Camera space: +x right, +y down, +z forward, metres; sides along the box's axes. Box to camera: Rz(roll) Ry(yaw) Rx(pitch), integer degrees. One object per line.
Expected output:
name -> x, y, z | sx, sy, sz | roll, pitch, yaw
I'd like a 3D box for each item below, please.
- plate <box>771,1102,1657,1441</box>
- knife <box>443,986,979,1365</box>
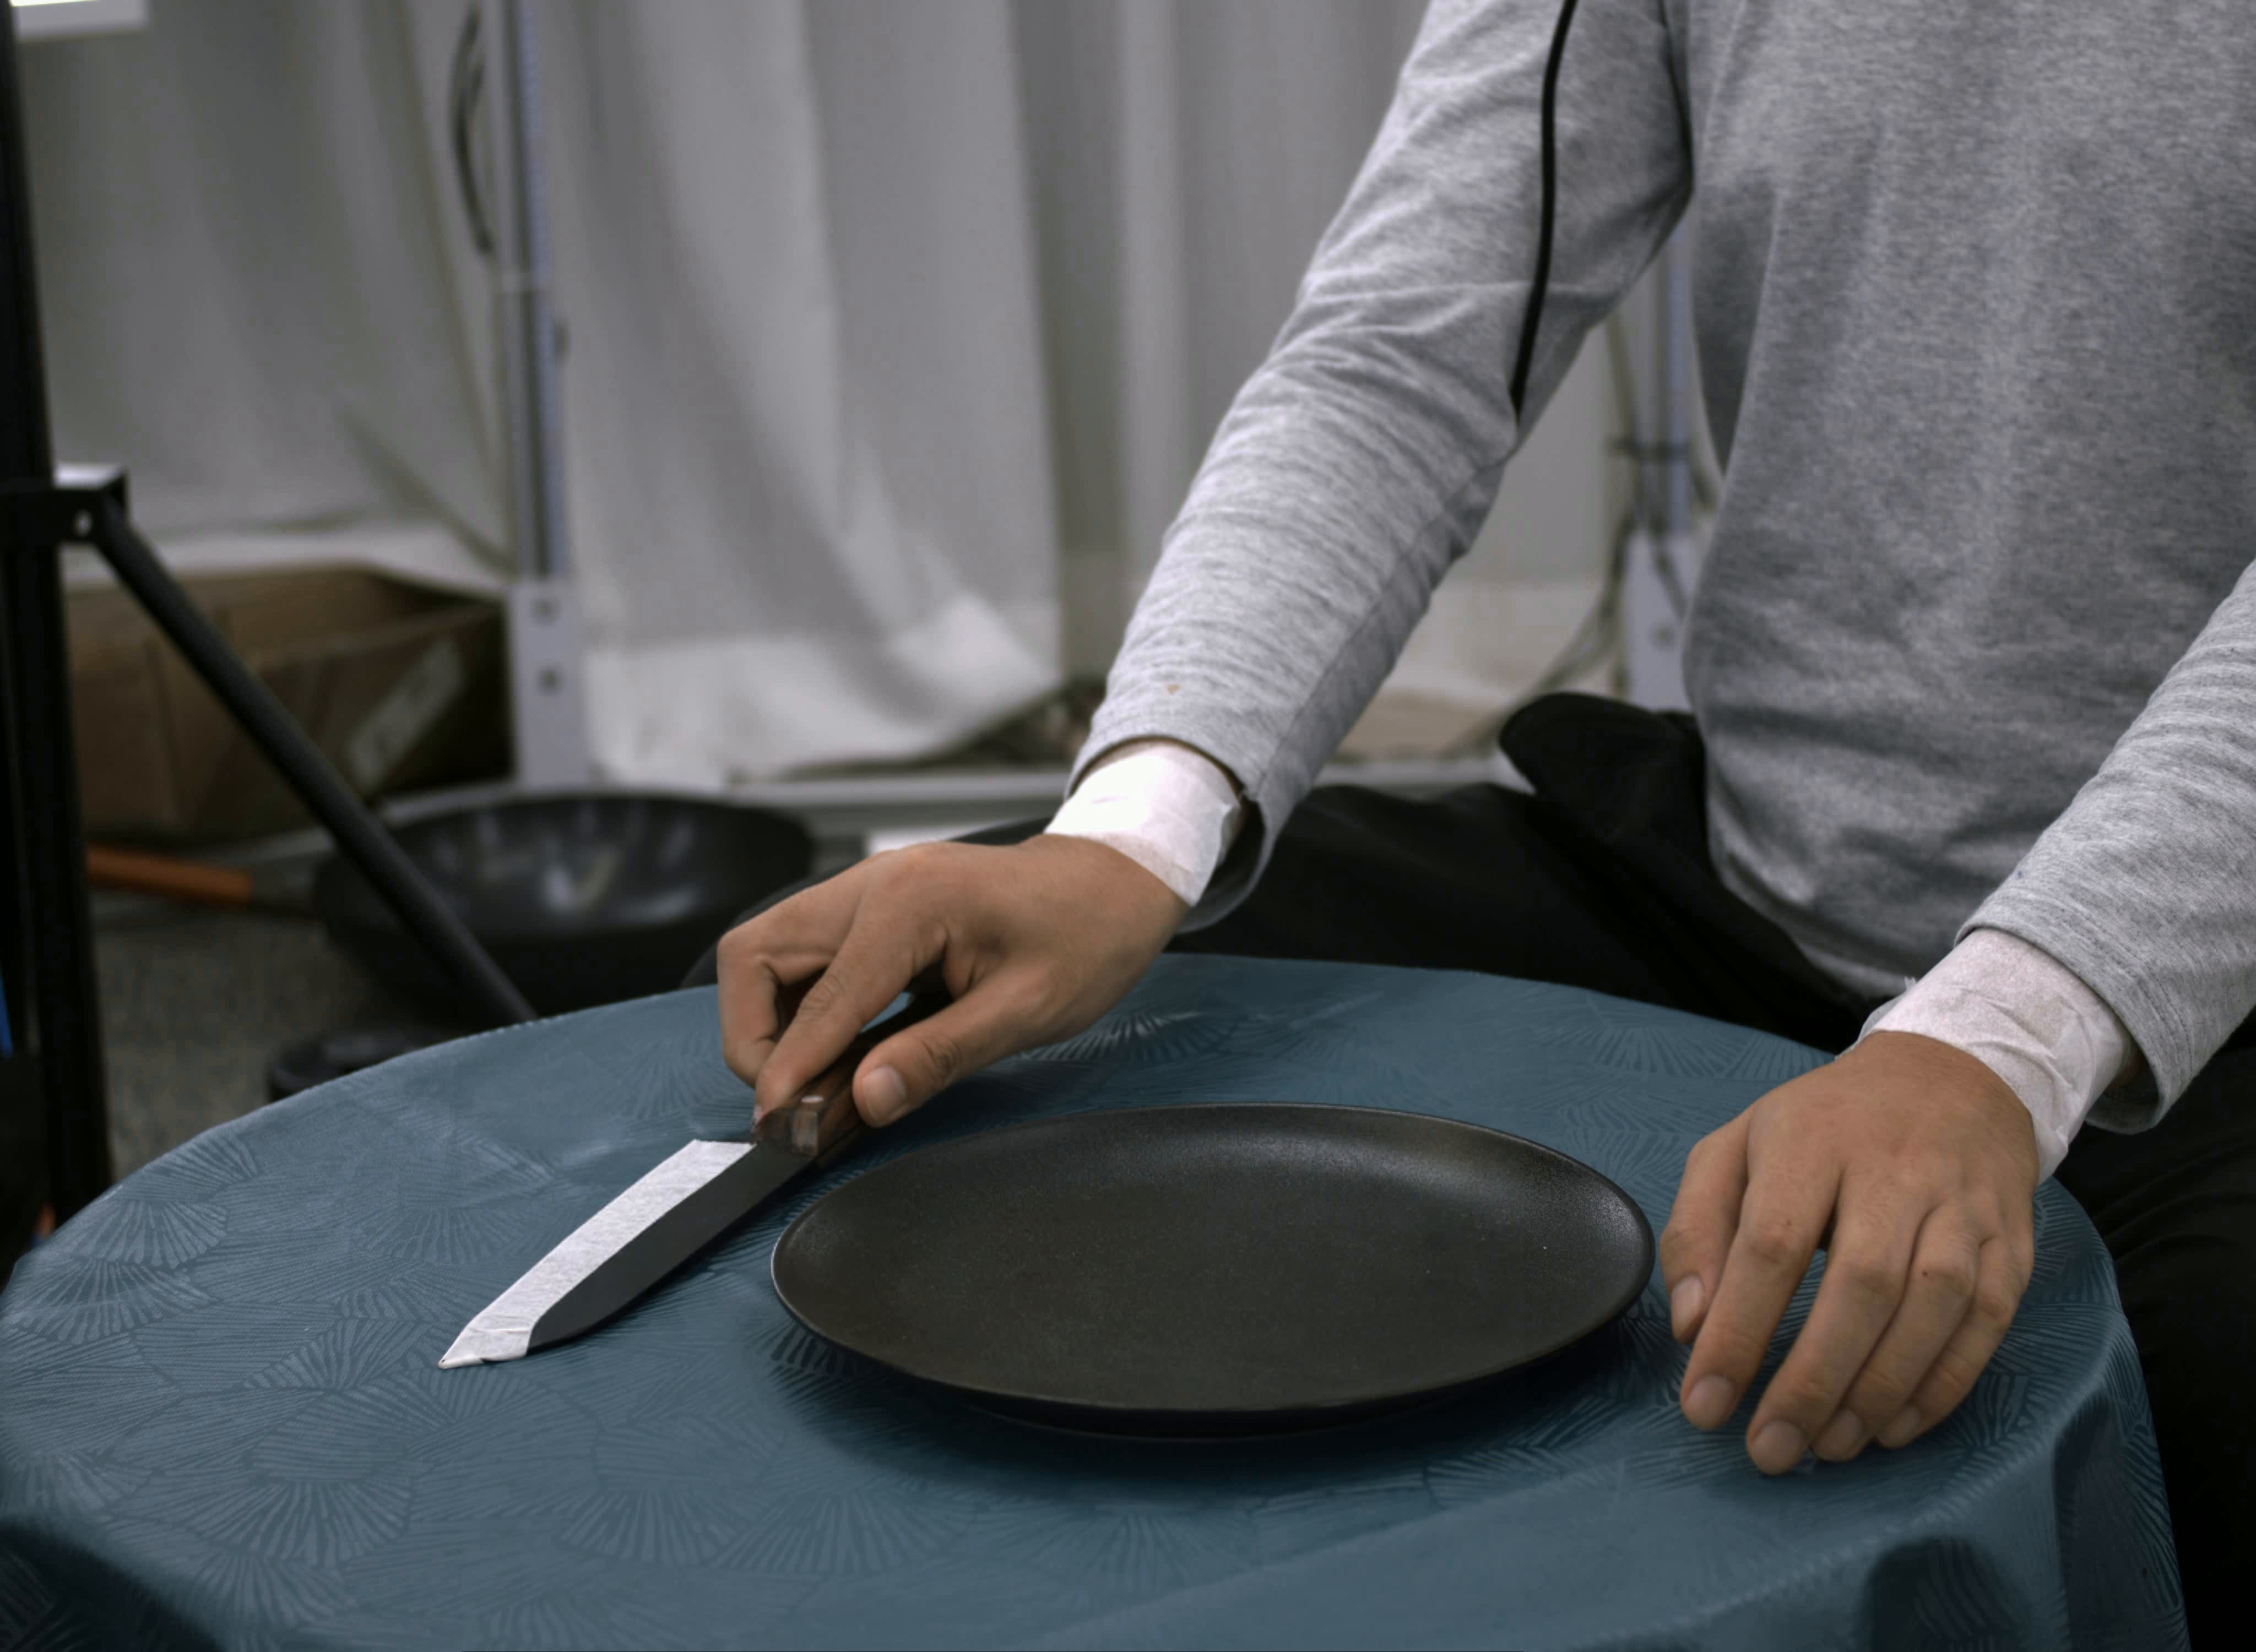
plate -> 0.024, 0.125, 1.457 | 0.243, 0.023, 0.245 | -3, 15, -1
knife -> -0.118, 0.103, 1.566 | 0.051, 0.020, 0.285 | 1, 19, 28
